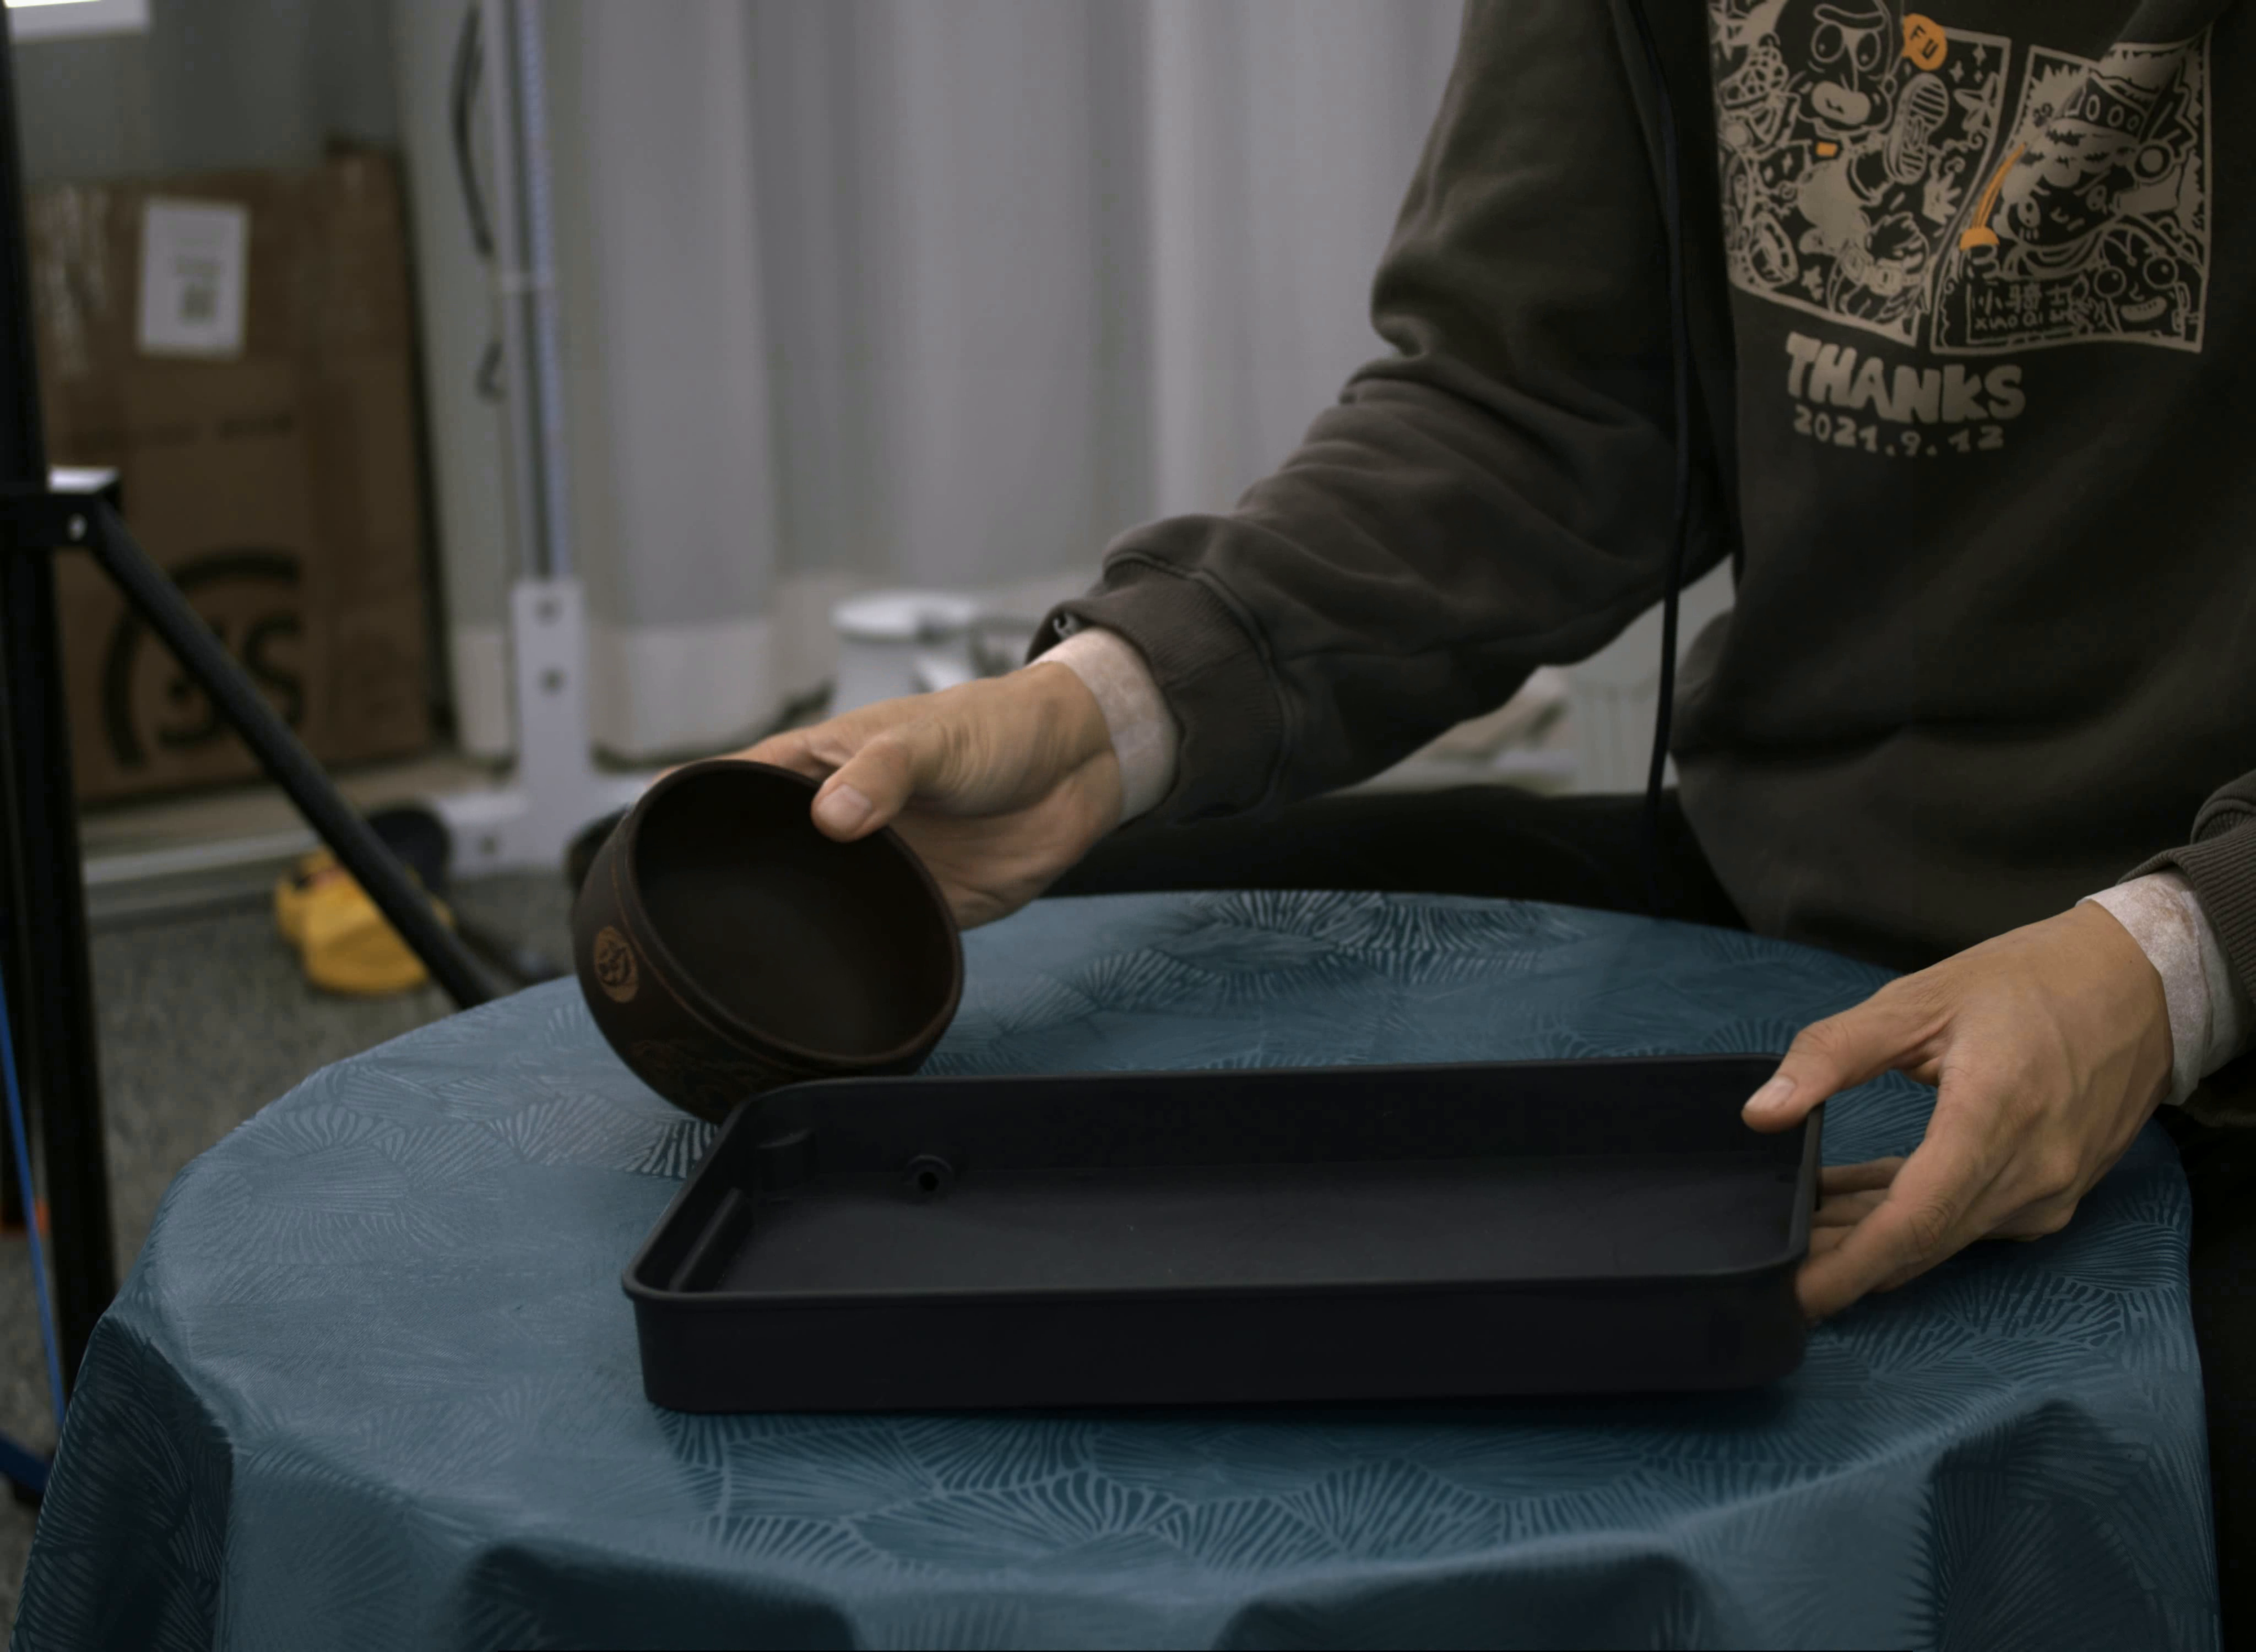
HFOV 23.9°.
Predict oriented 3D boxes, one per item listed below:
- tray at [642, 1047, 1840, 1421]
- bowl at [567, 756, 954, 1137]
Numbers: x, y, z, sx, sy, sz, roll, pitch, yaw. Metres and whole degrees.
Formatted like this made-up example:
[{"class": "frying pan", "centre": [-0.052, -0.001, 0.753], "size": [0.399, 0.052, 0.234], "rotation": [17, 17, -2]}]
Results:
[{"class": "tray", "centre": [0.037, 0.110, 1.460], "size": [0.319, 0.037, 0.184], "rotation": [-3, 15, 10]}, {"class": "bowl", "centre": [-0.119, 0.045, 1.626], "size": [0.115, 0.070, 0.119], "rotation": [22, 42, -23]}]
